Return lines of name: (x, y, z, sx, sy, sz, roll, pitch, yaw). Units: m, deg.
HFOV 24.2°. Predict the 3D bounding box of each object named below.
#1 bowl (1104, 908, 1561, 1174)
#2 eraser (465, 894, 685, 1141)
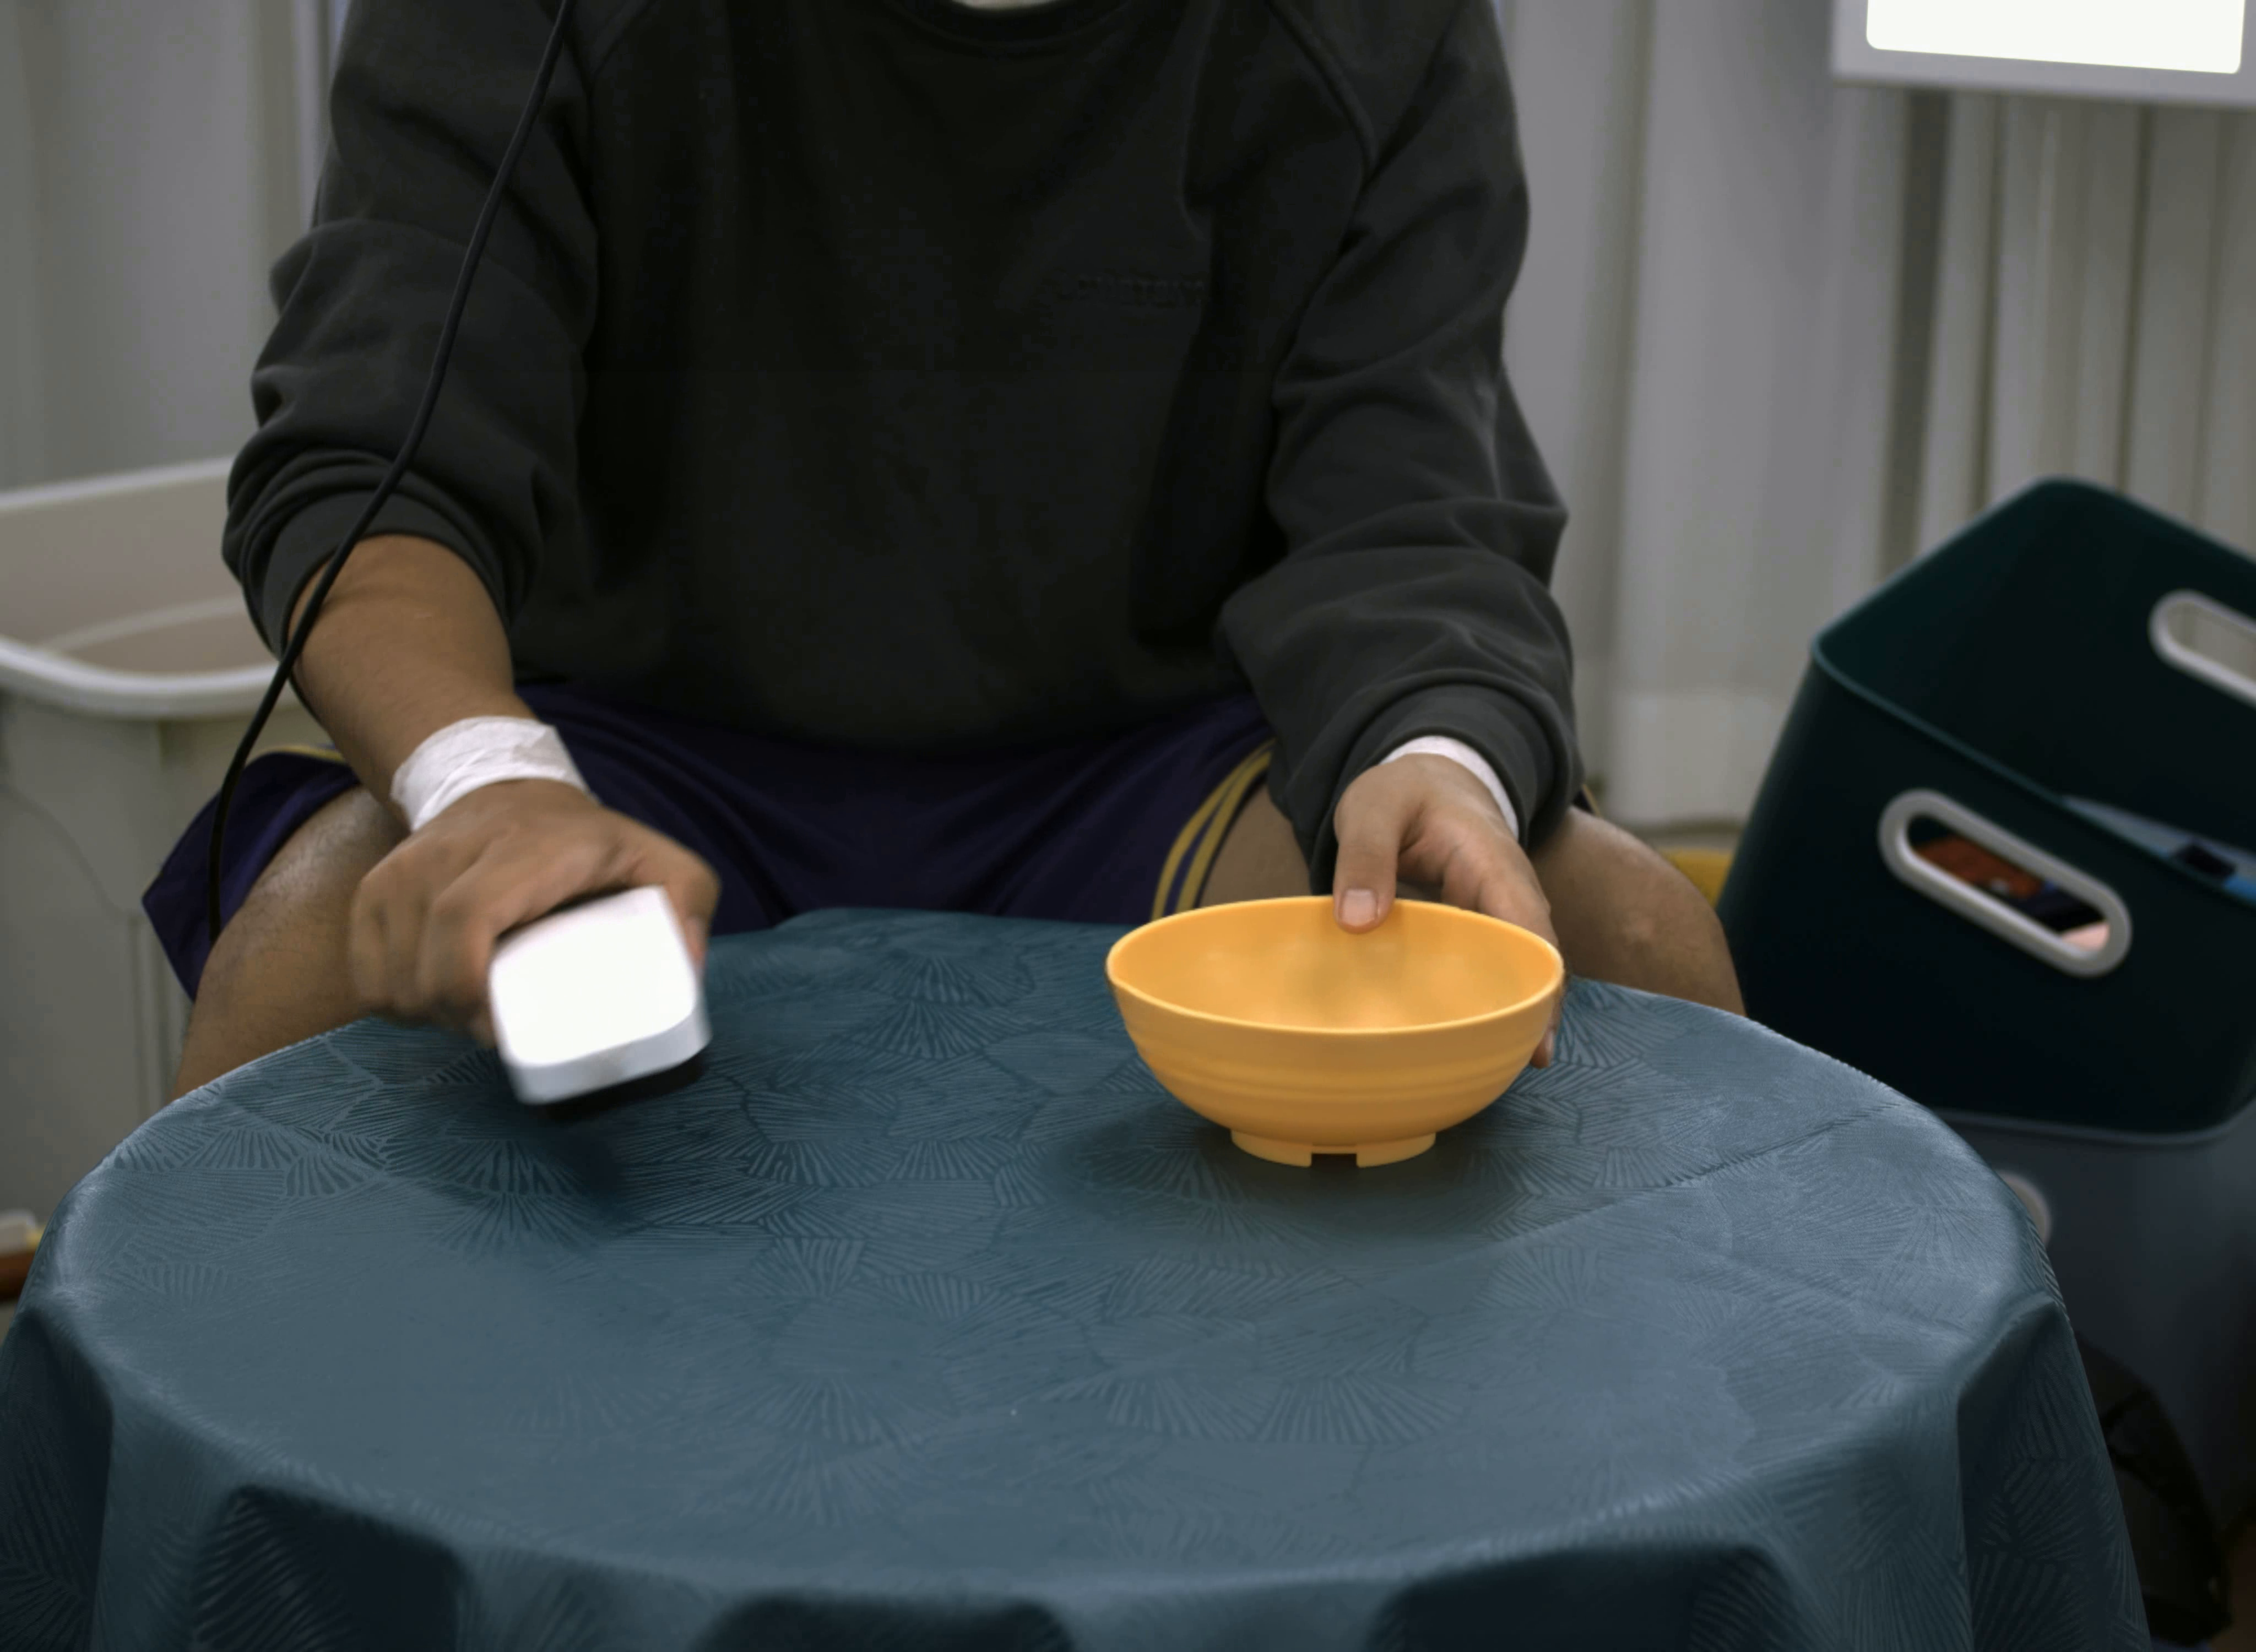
bowl: (0.064, 0.072, 1.667, 0.145, 0.060, 0.144, 1, 14, 0)
eraser: (-0.172, 0.055, 1.645, 0.063, 0.035, 0.130, -15, 22, -5)
